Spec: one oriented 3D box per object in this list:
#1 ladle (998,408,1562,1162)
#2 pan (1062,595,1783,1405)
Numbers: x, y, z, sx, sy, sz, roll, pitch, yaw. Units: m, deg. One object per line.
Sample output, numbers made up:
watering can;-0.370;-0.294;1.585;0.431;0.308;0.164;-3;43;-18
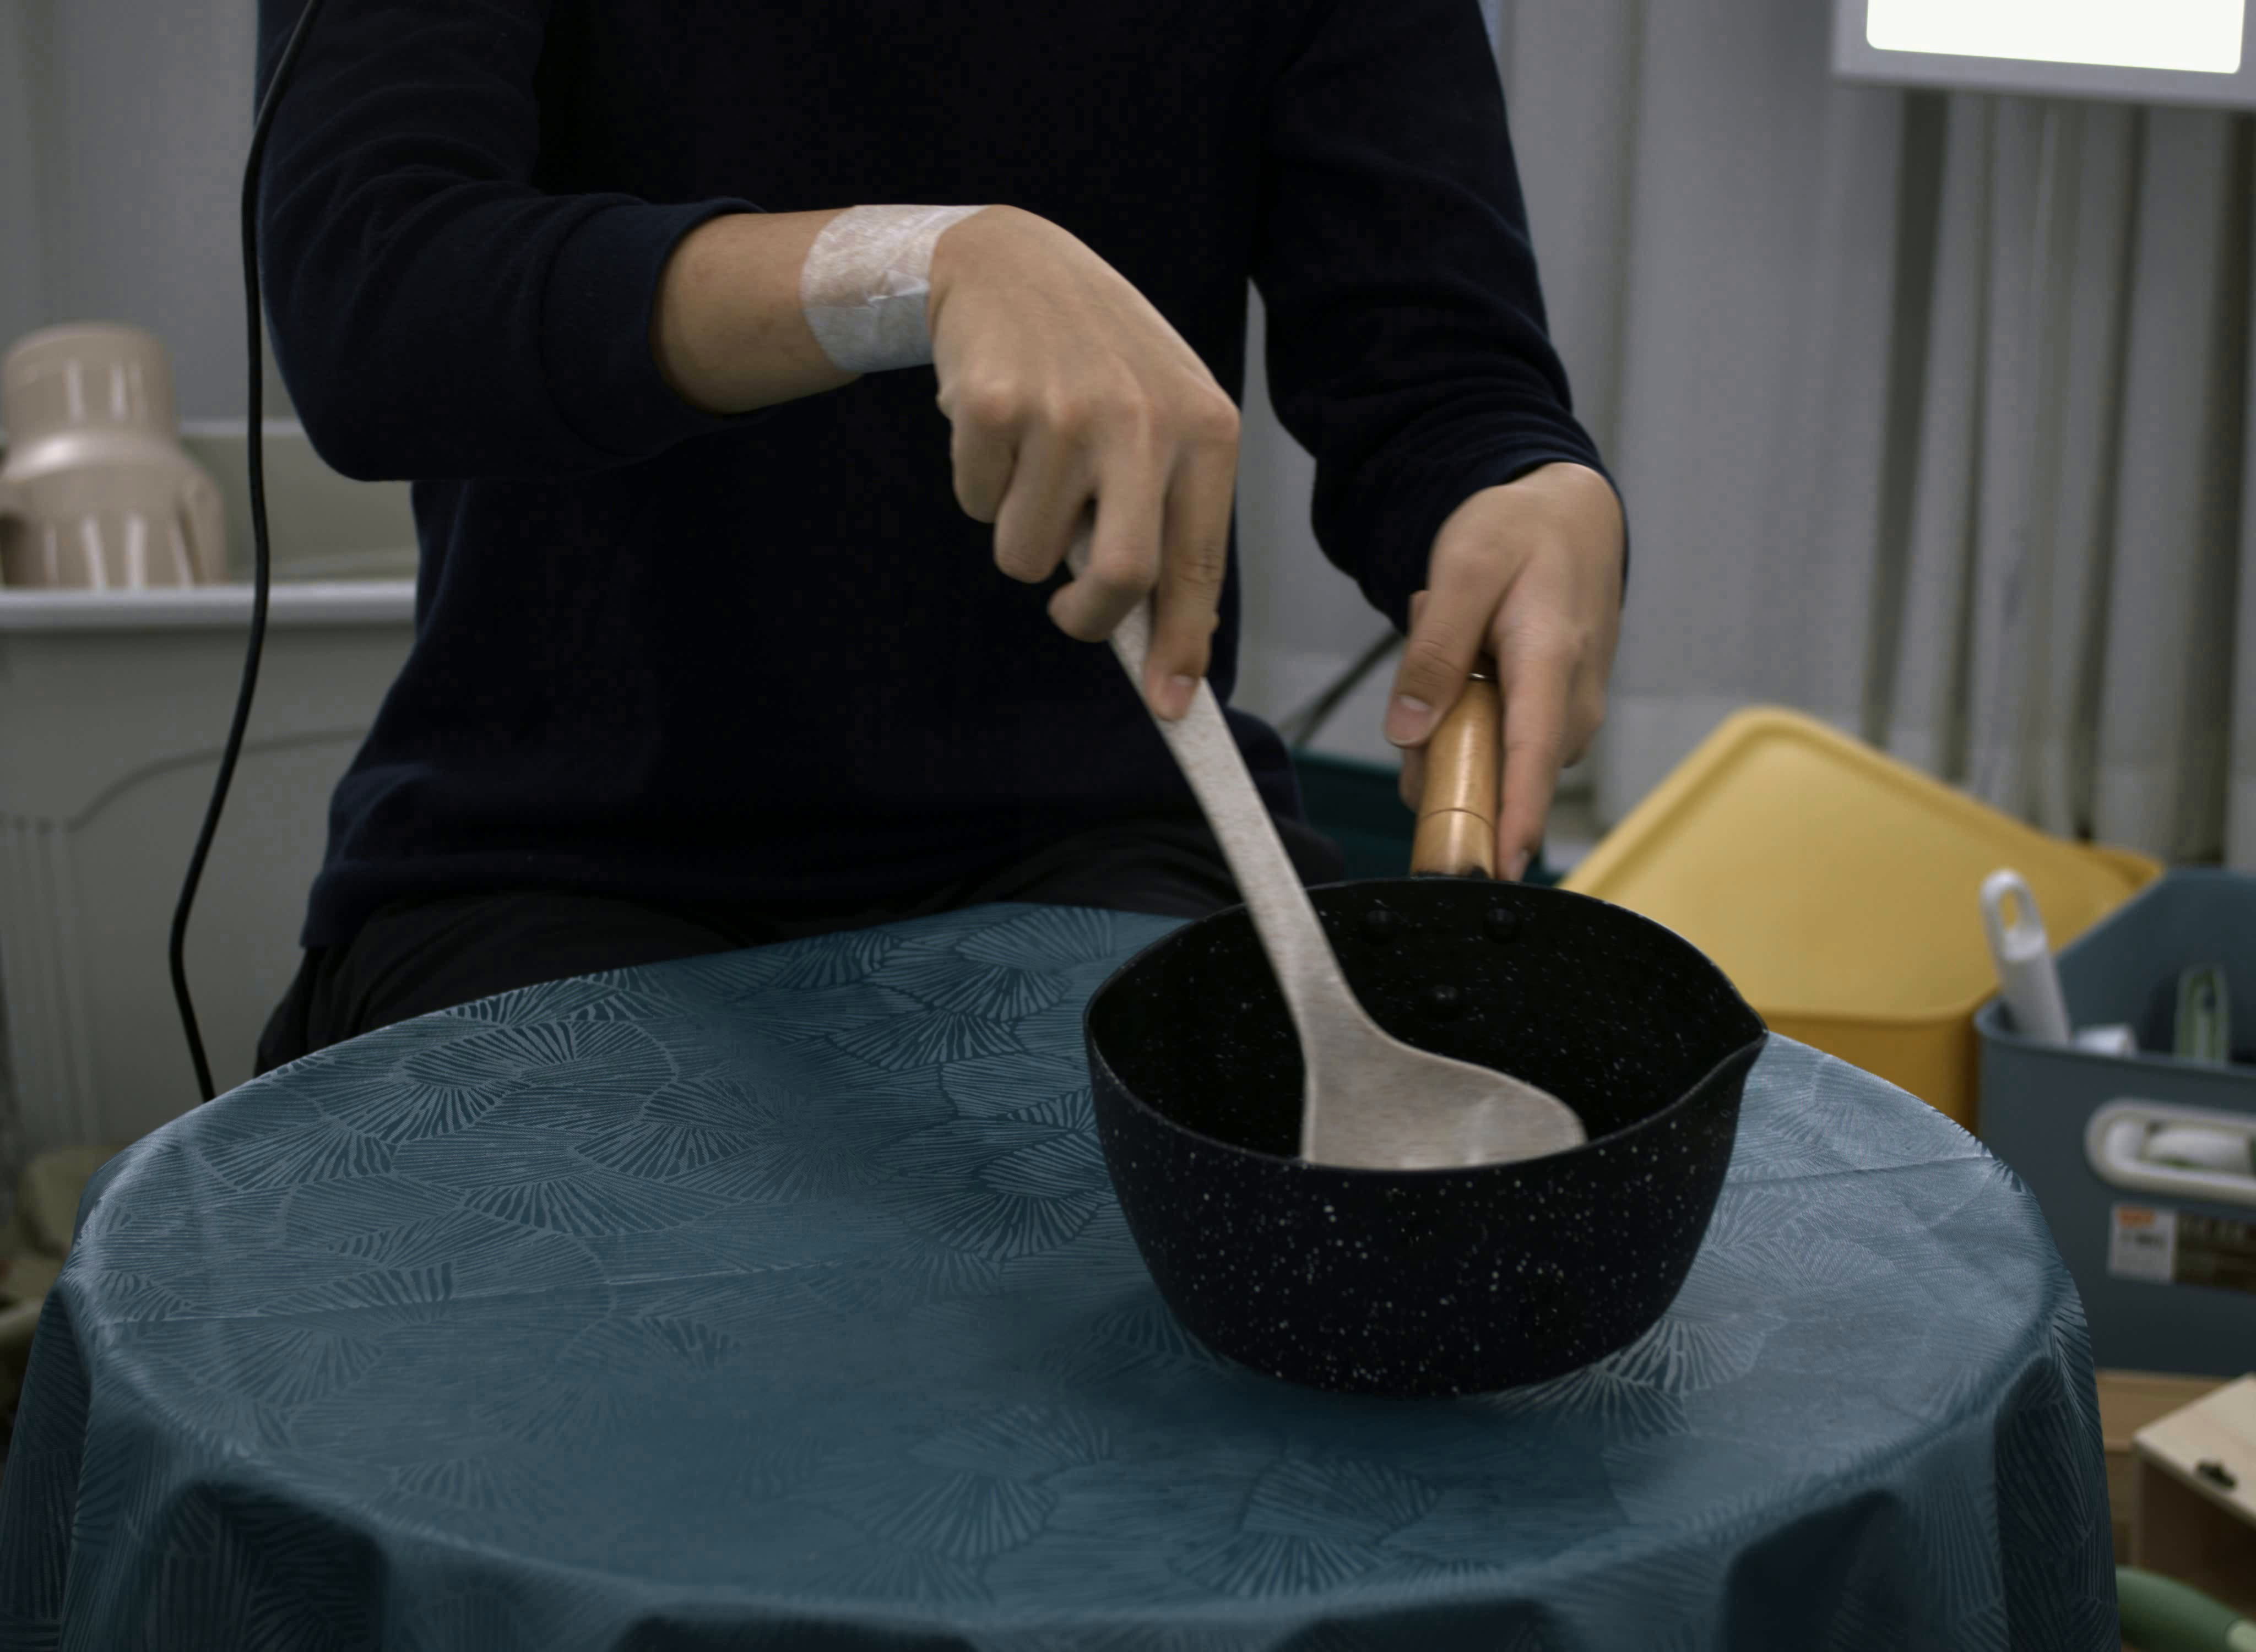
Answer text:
ladle;0.040;-0.005;1.522;0.089;0.275;0.069;-26;2;-35
pan;0.093;0.047;1.572;0.206;0.109;0.341;0;26;8
